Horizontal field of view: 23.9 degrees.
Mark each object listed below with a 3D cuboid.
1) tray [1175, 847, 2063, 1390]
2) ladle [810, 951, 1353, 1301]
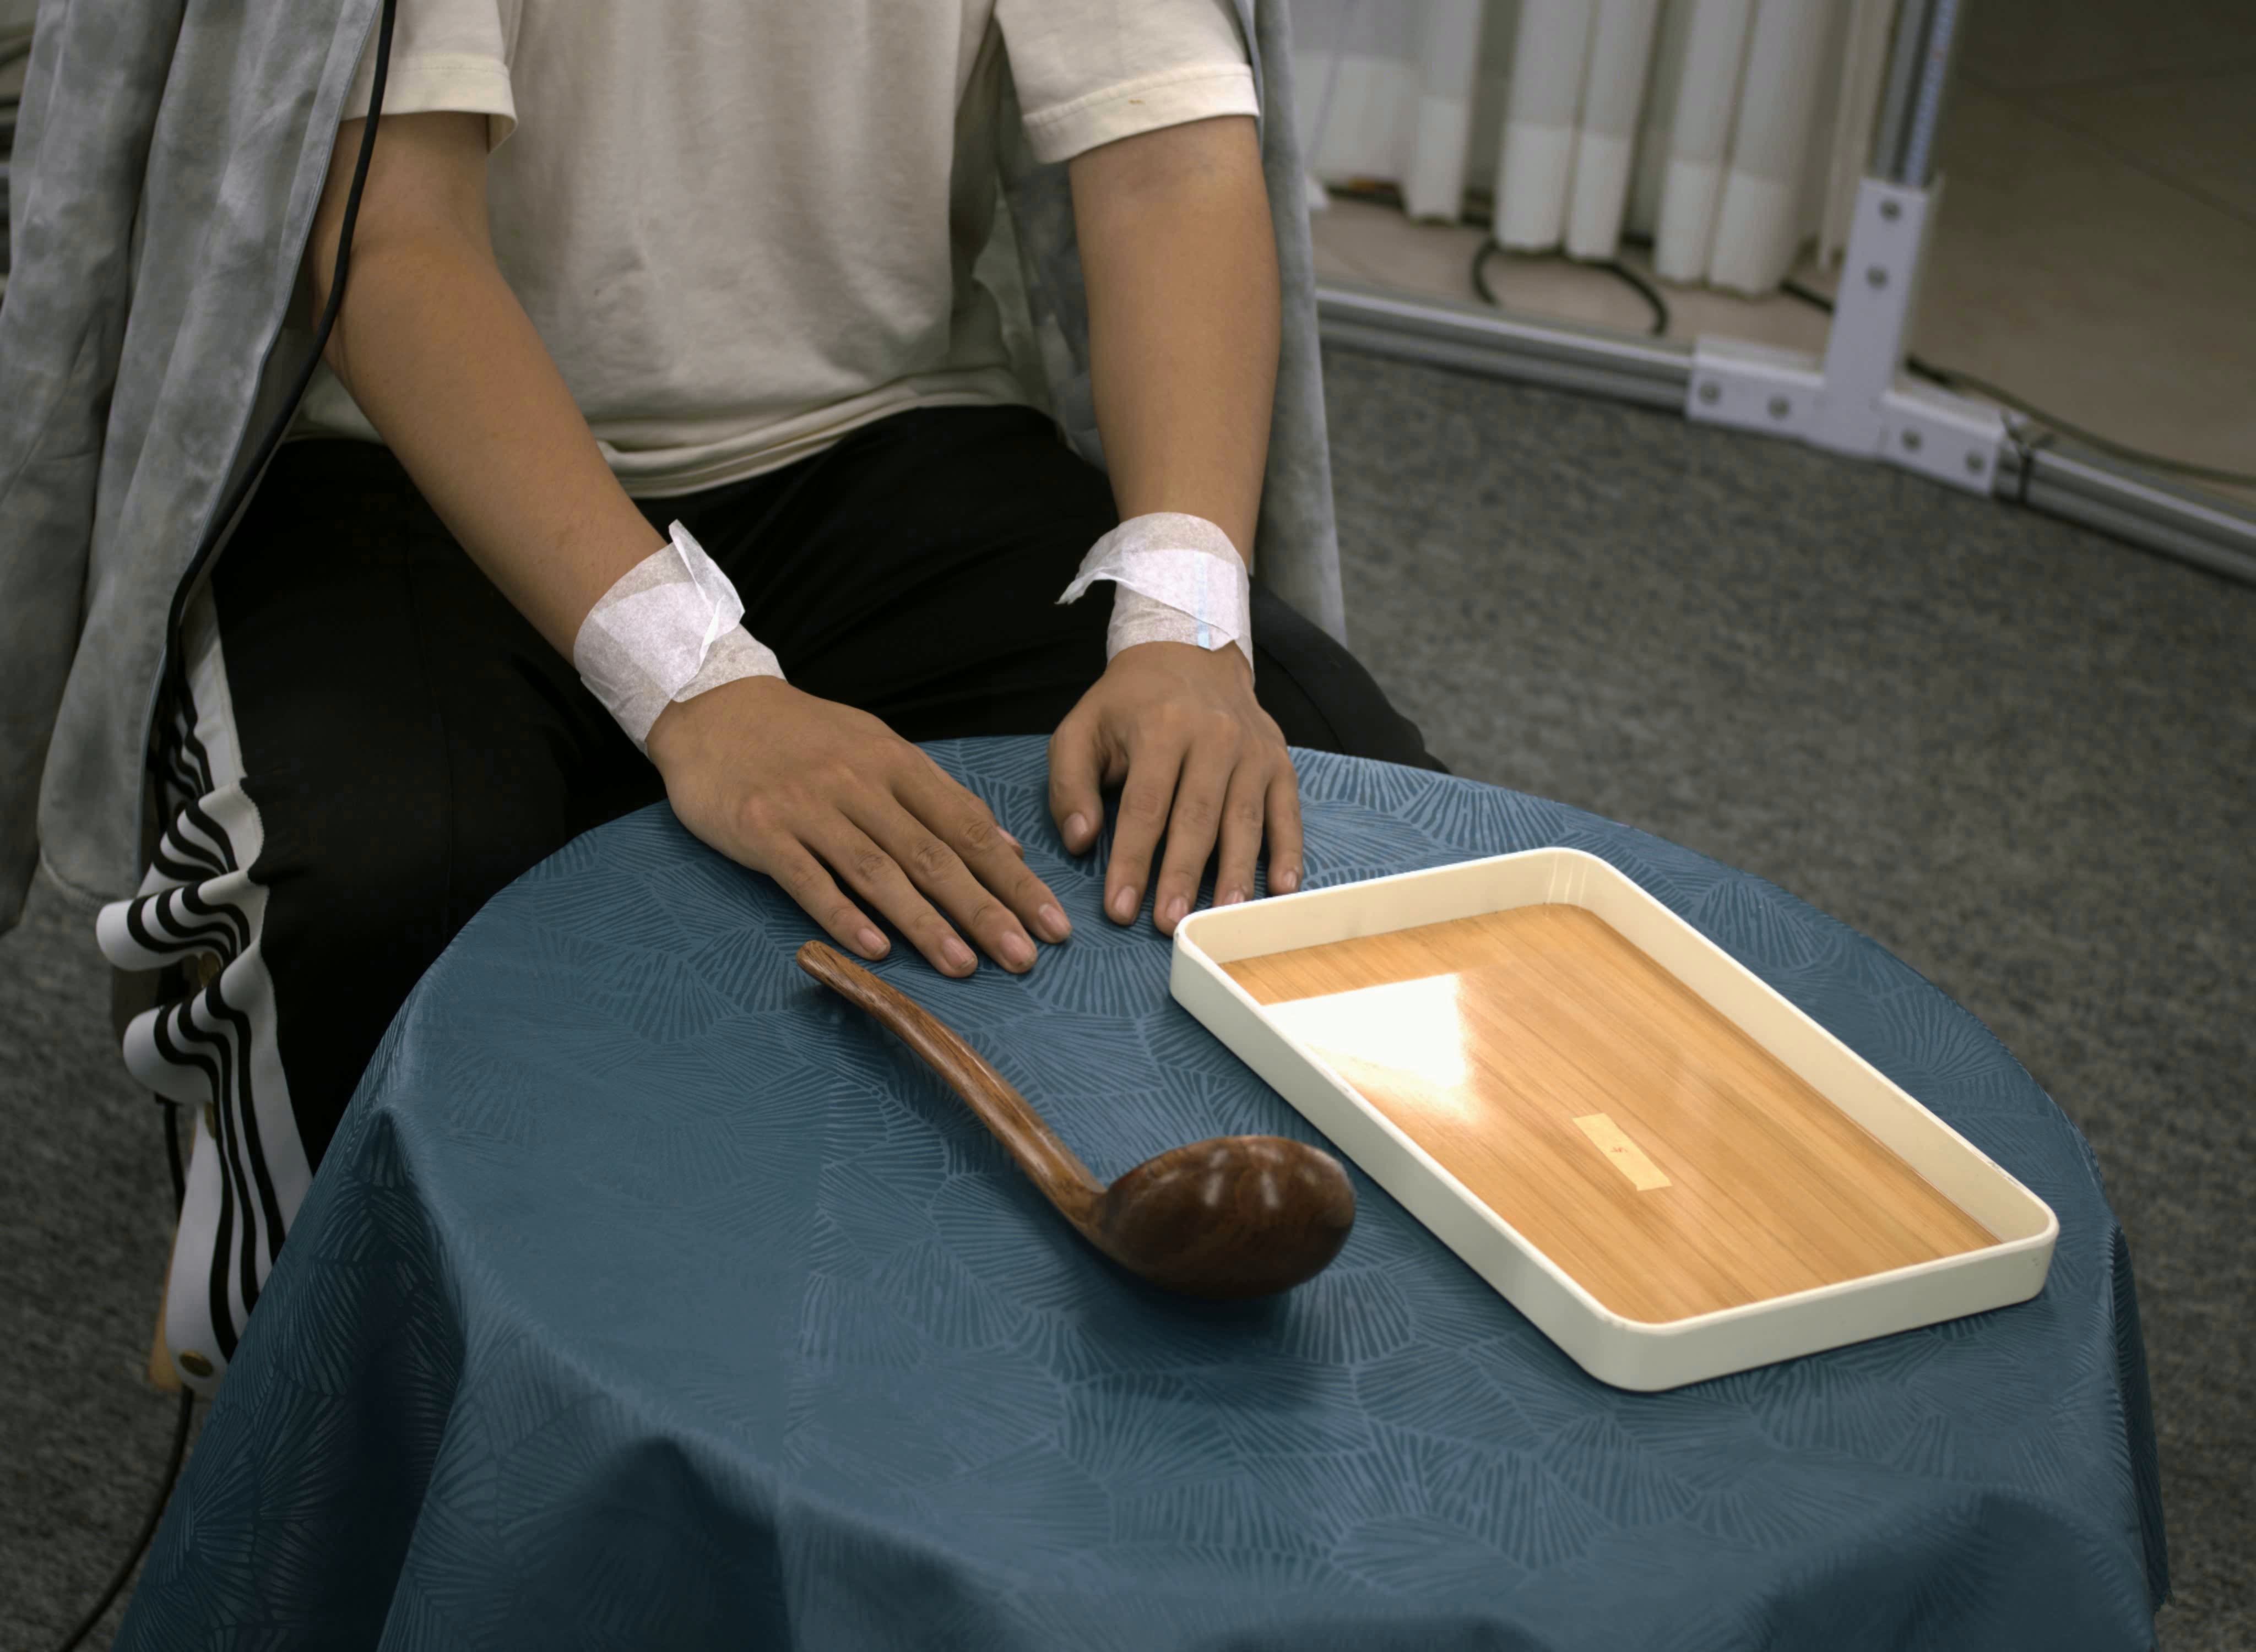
[{"bbox_3d":[0.166,0.096,1.866,0.190,0.027,0.303,-10,31,-29],"label":"tray"},{"bbox_3d":[-0.021,0.082,1.805,0.081,0.076,0.276,36,3,-41],"label":"ladle"}]
